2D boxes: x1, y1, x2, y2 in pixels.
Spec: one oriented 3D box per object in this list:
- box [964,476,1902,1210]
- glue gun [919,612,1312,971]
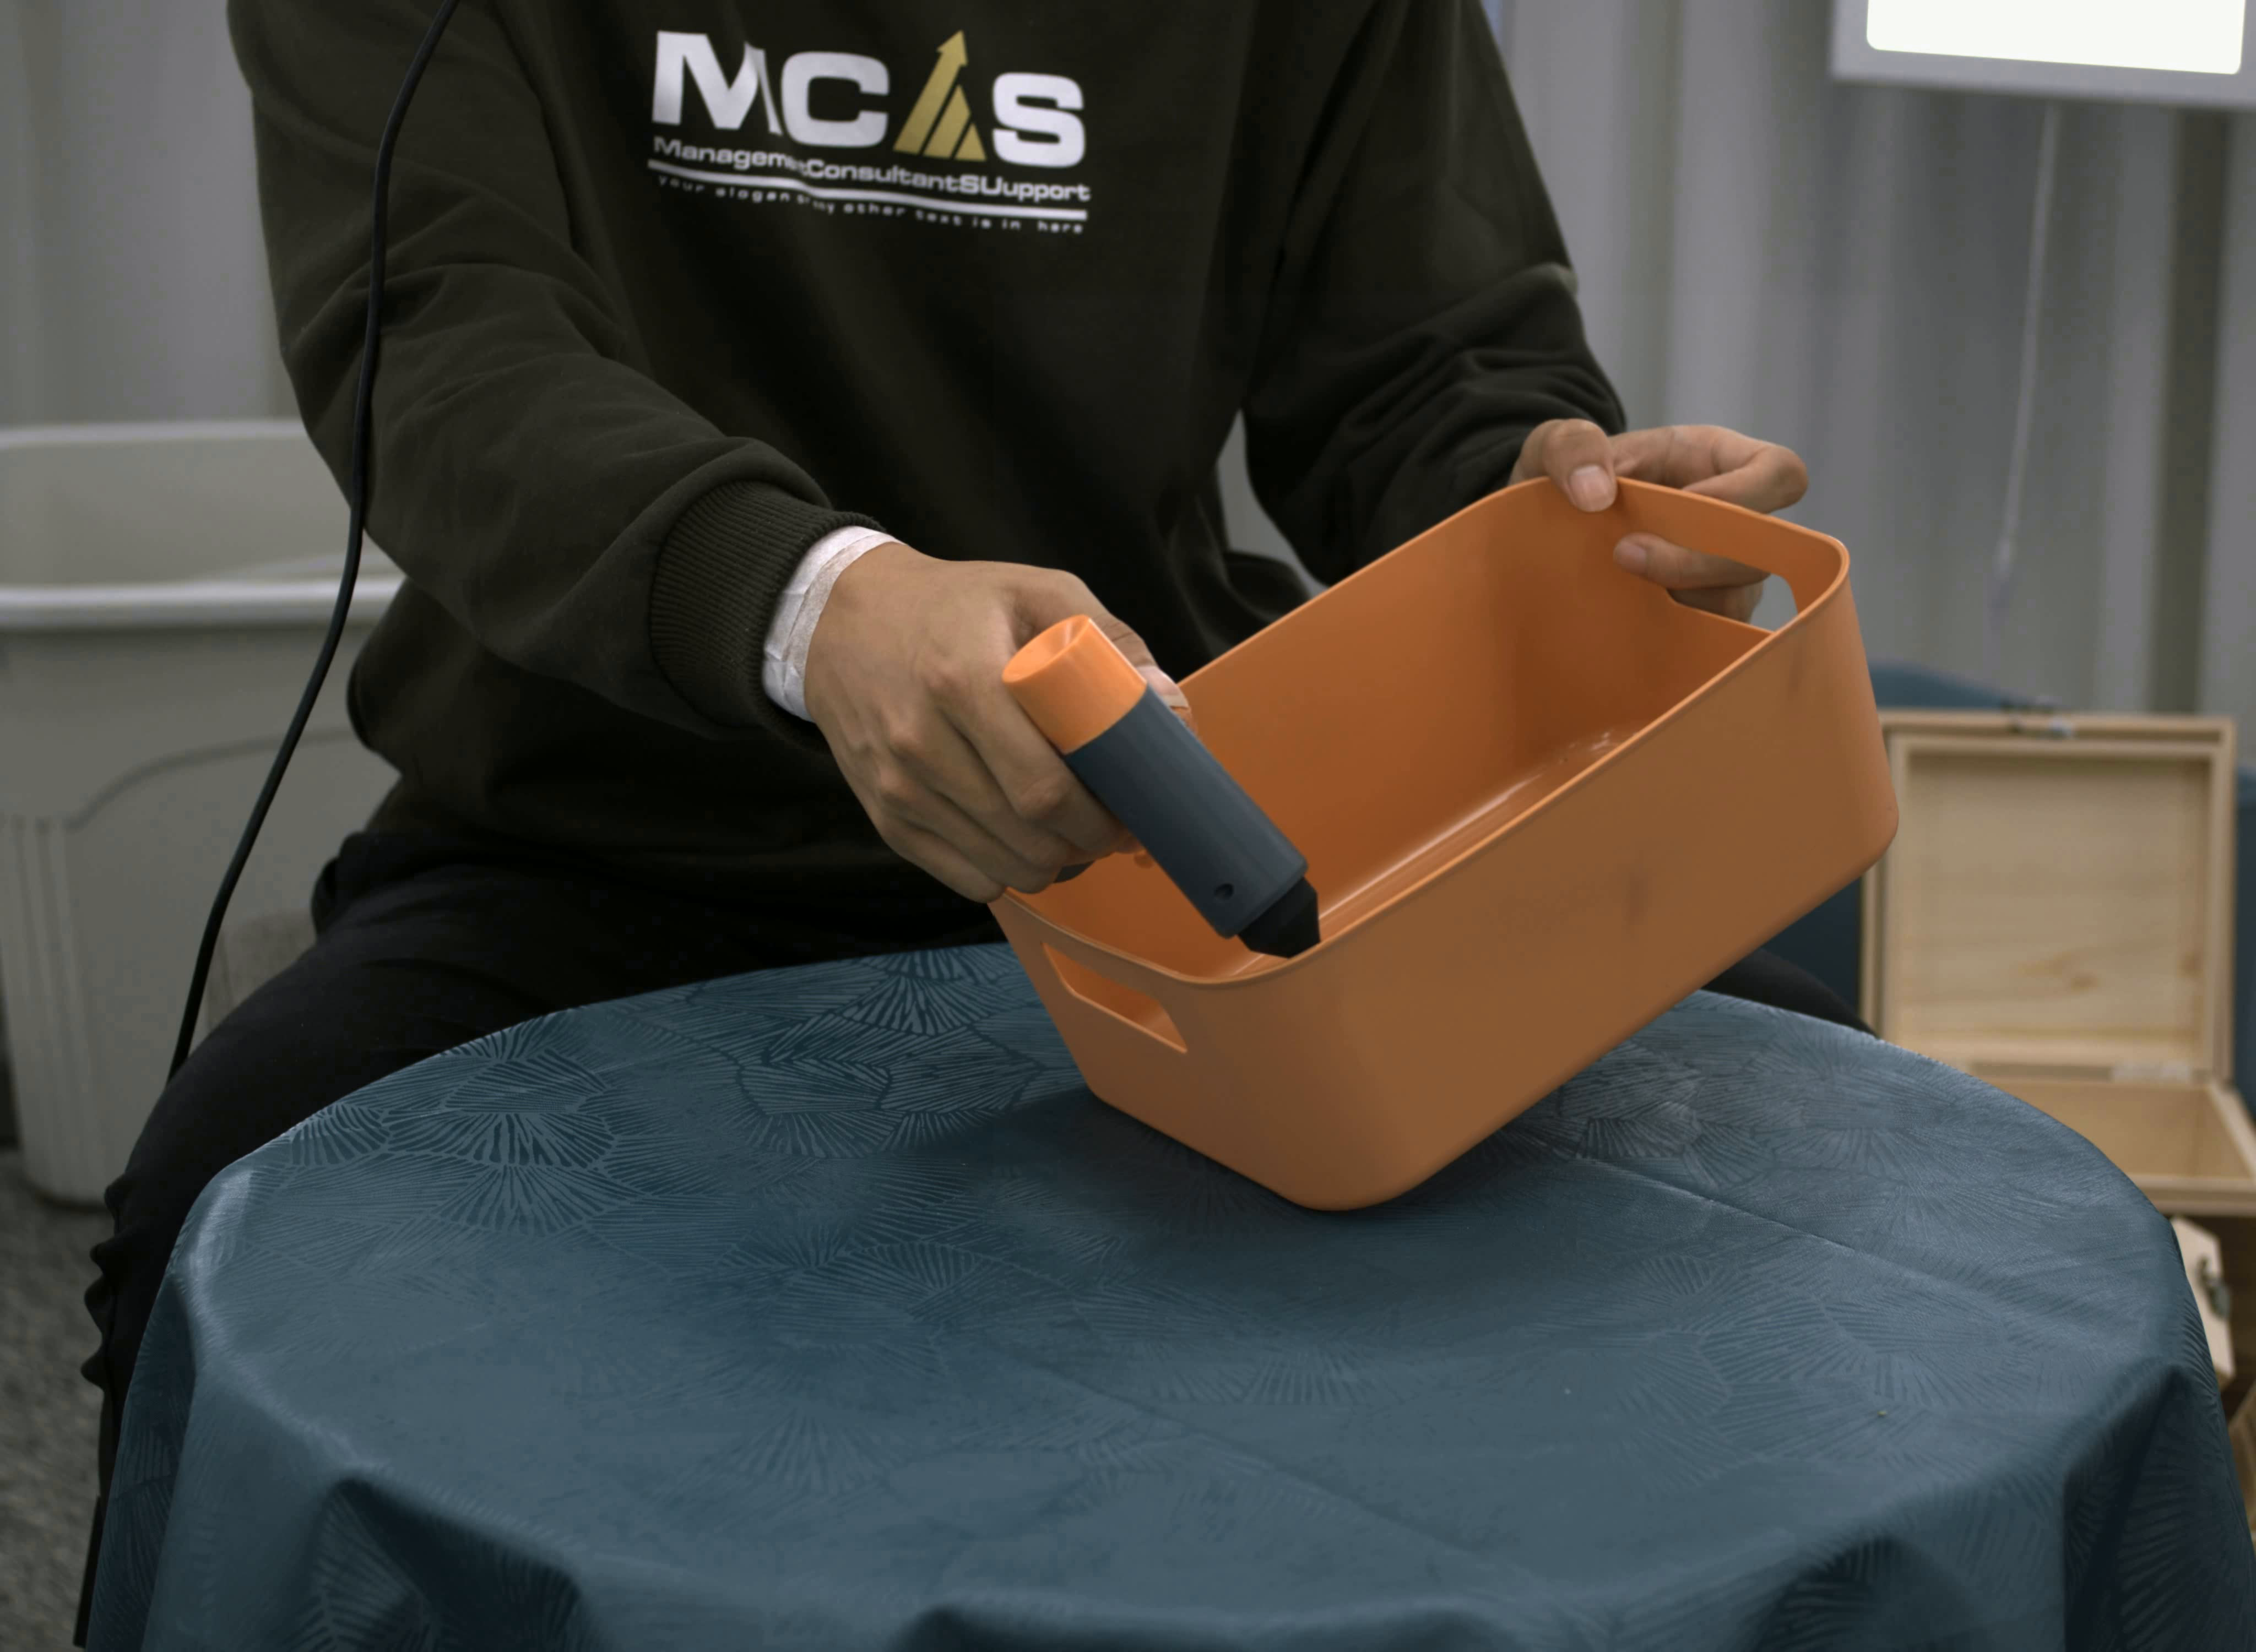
[{"bbox_3d":[0.103,0.005,1.686,0.273,0.104,0.197,-34,28,-22],"label":"box"},{"bbox_3d":[-0.004,-0.009,1.589,0.041,0.119,0.138,-39,19,-19],"label":"glue gun"}]
